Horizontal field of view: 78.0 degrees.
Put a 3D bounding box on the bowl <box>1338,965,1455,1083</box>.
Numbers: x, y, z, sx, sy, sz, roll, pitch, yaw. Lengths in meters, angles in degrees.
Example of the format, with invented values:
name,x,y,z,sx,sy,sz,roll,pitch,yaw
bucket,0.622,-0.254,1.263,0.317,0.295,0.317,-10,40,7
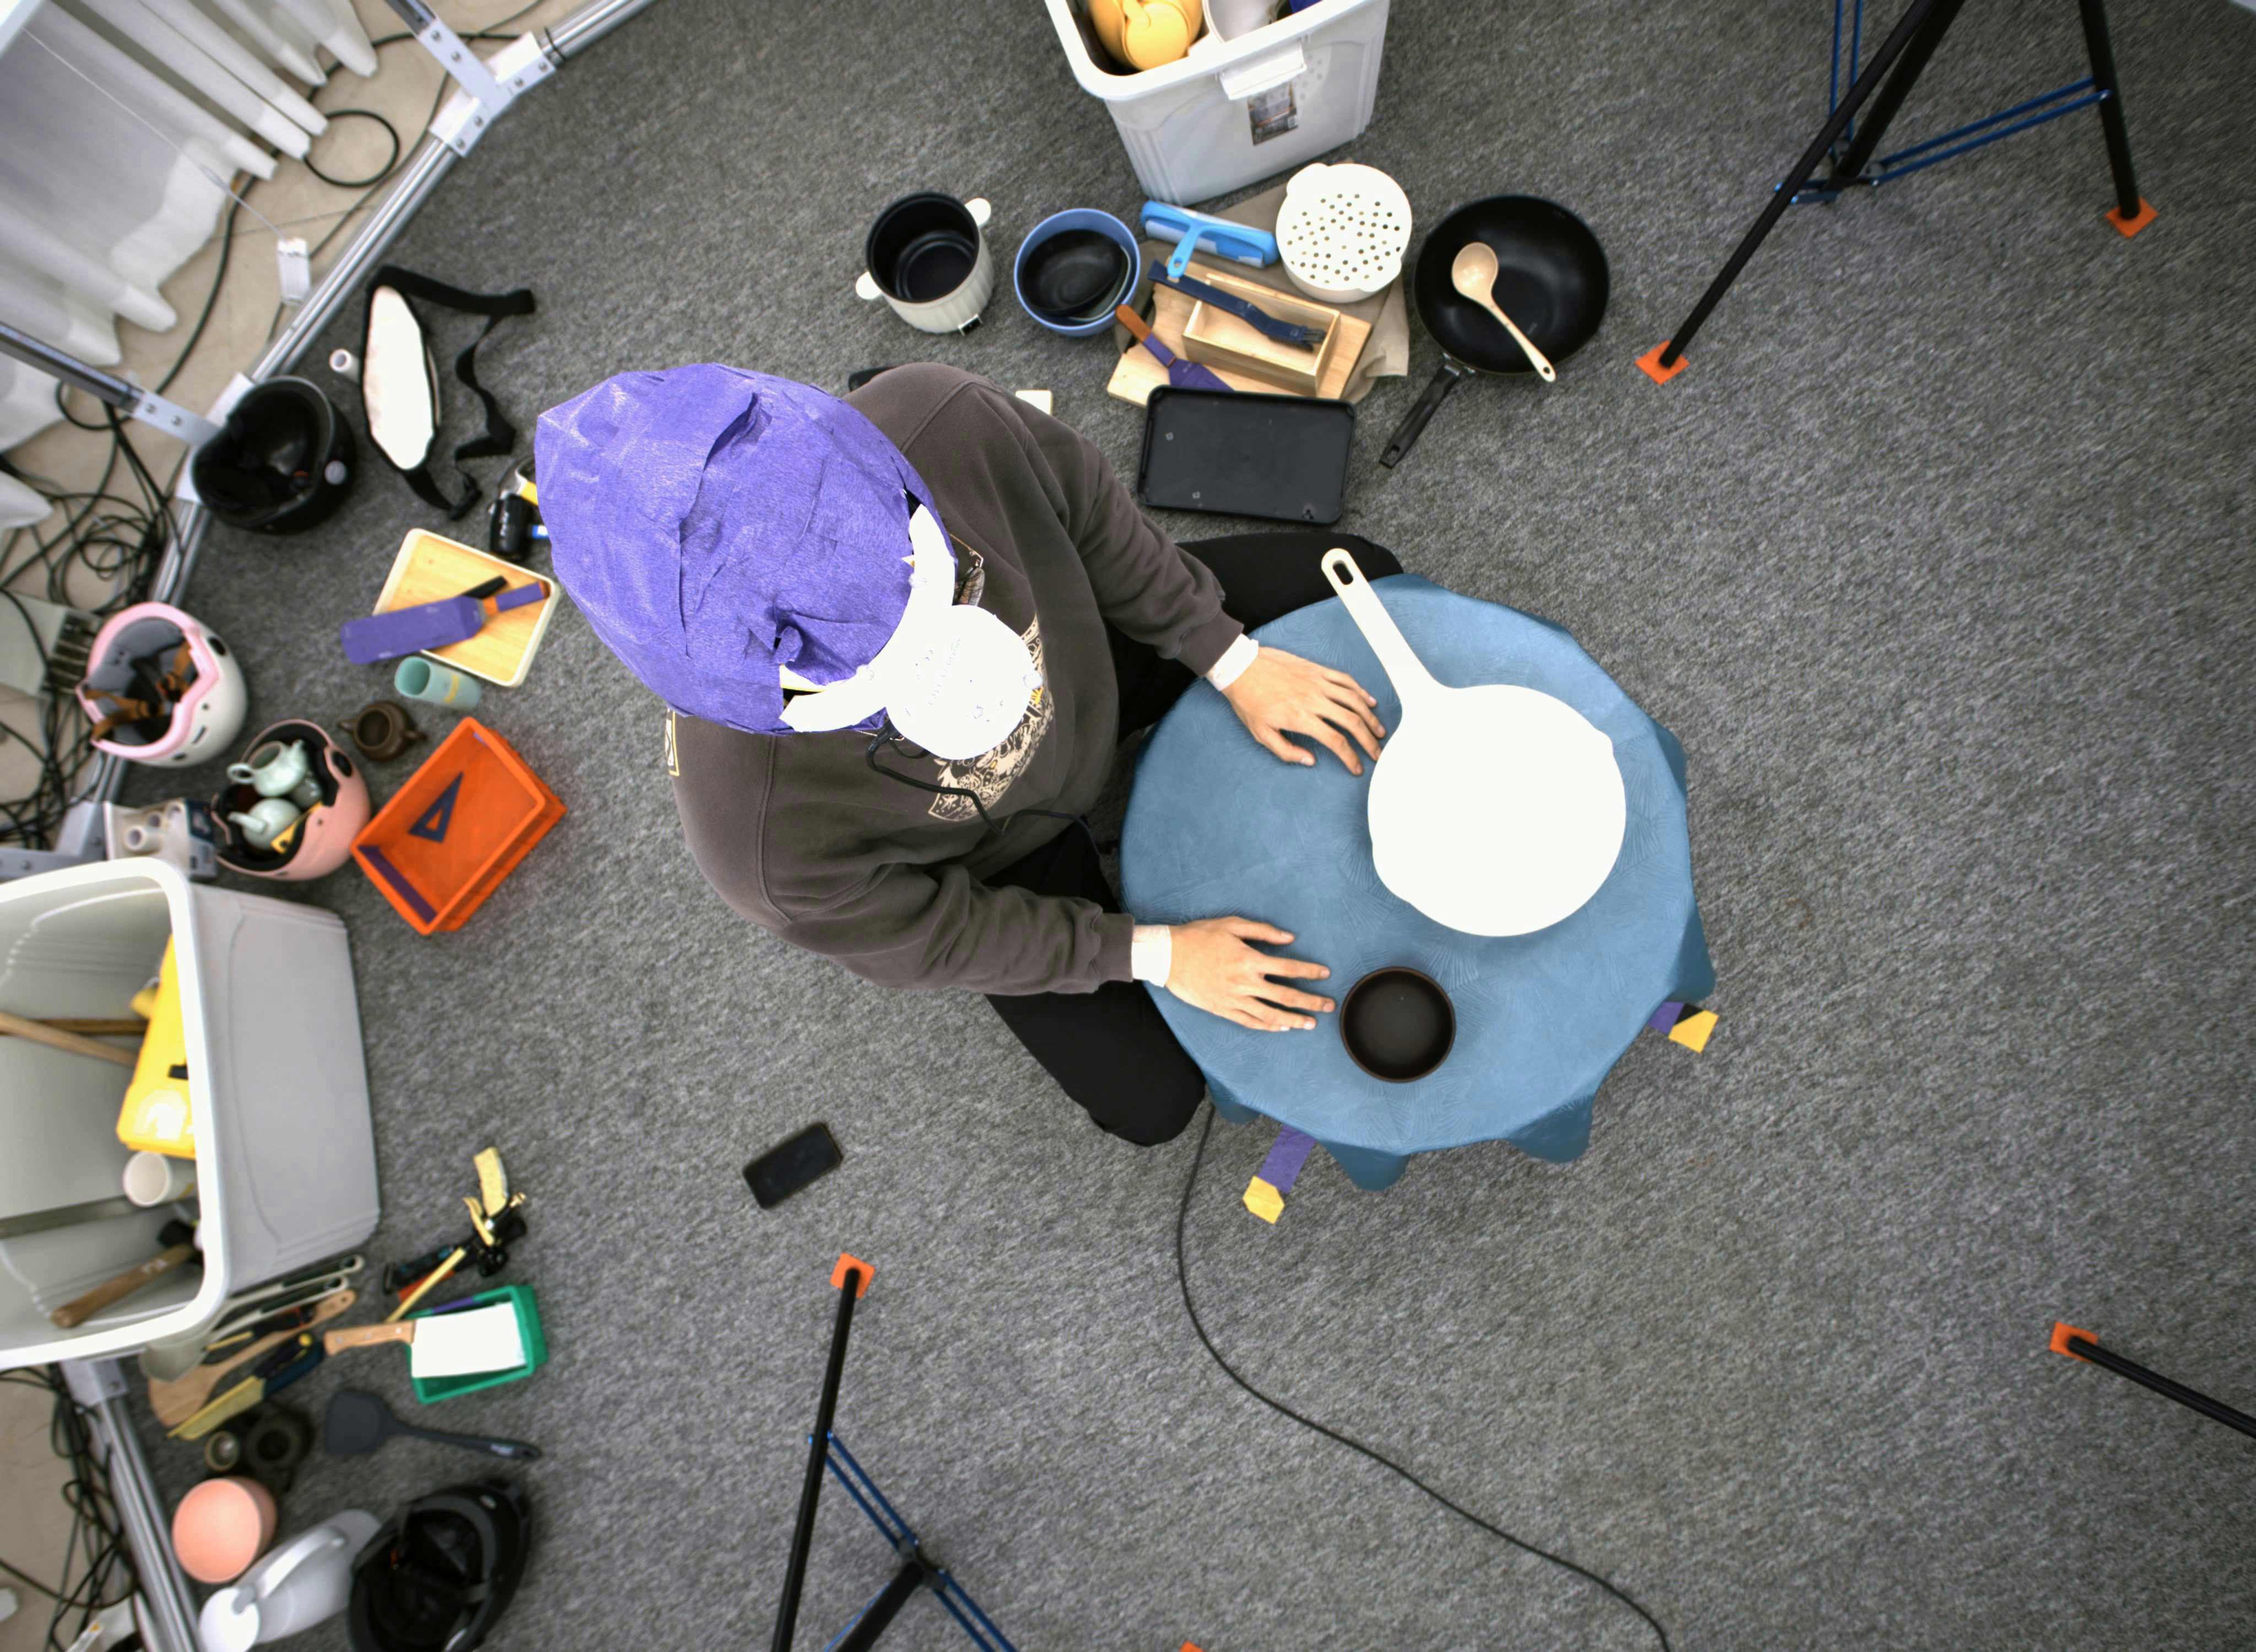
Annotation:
name,x,y,z,sx,sy,sz,roll,pitch,yaw
bowl,0.274,0.200,1.414,0.118,0.070,0.117,-1,87,12

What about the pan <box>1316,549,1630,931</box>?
name,x,y,z,sx,sy,sz,roll,pitch,yaw
pan,0.325,-0.097,1.406,0.265,0.102,0.432,-33,81,9
